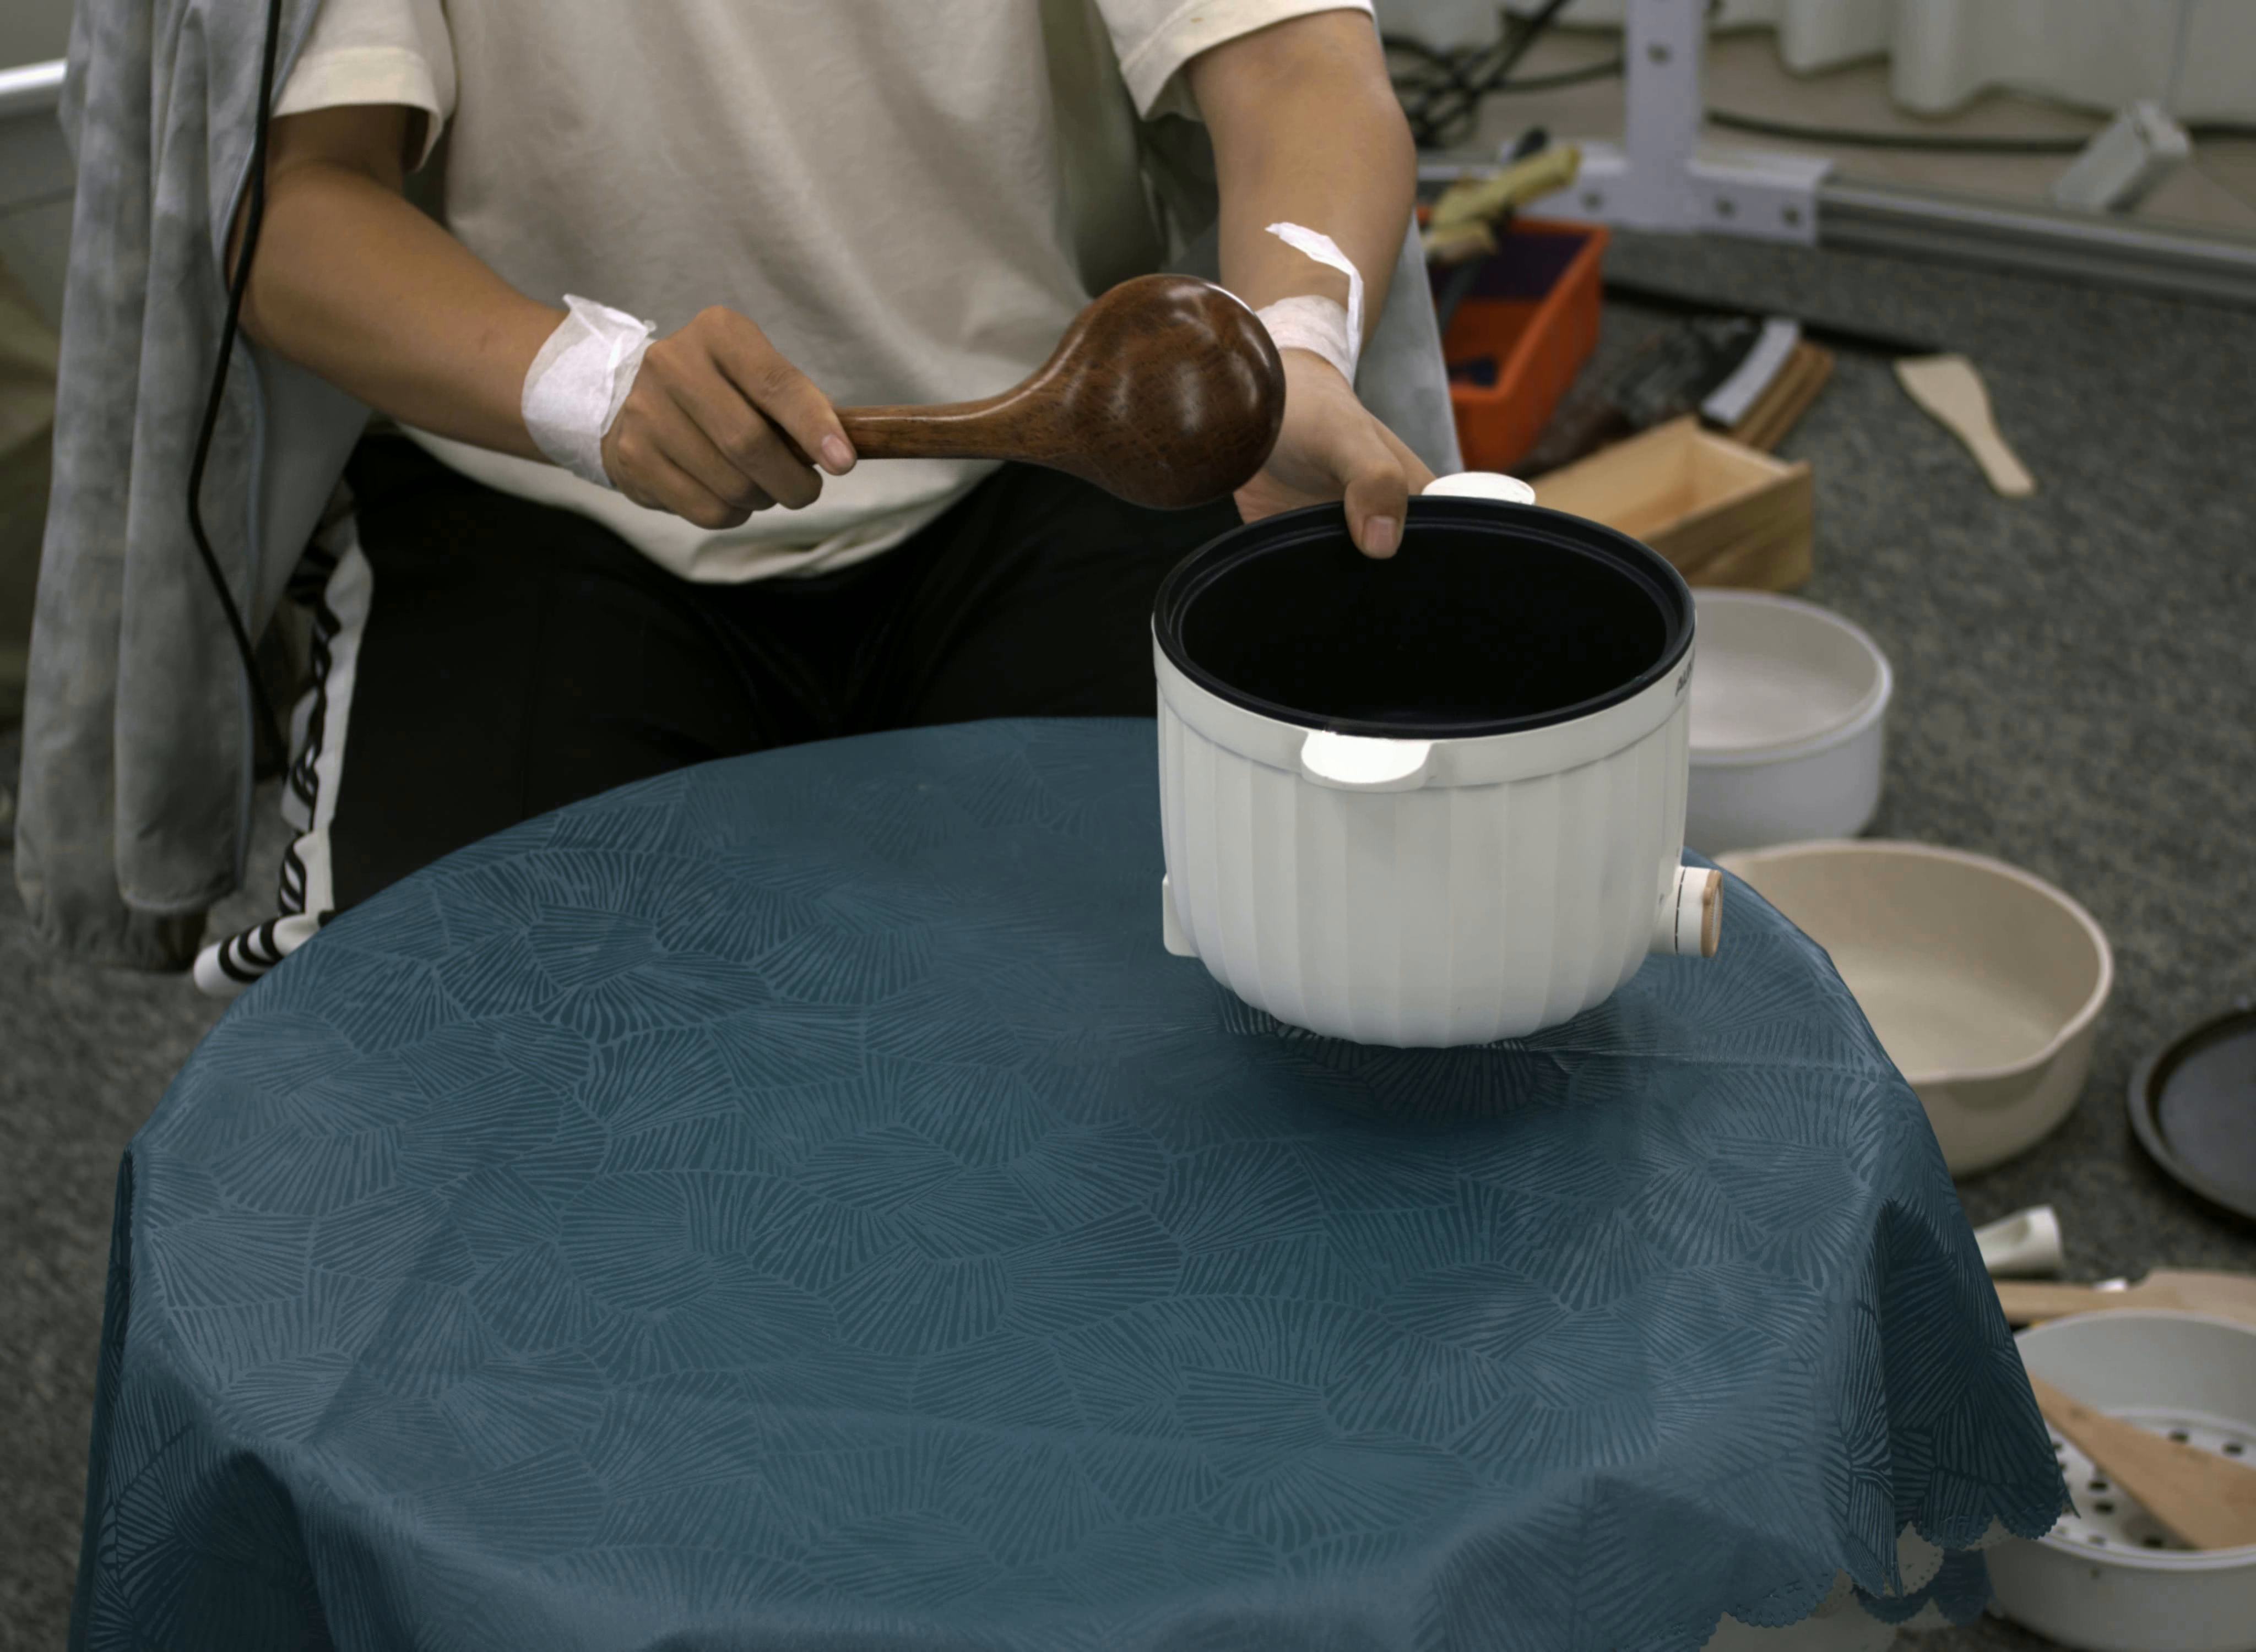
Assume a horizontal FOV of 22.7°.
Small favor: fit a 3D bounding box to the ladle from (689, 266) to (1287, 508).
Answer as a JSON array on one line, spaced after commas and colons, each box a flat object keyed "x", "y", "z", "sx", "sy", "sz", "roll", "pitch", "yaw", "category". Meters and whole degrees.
[{"x": -0.051, "y": -0.146, "z": 1.992, "sx": 0.077, "sy": 0.082, "sz": 0.271, "roll": -17, "pitch": 9, "yaw": -37, "category": "ladle"}]

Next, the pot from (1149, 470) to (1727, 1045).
[{"x": 0.105, "y": -0.015, "z": 1.901, "sx": 0.189, "sy": 0.141, "sz": 0.244, "roll": 2, "pitch": 28, "yaw": 13, "category": "pot"}]
